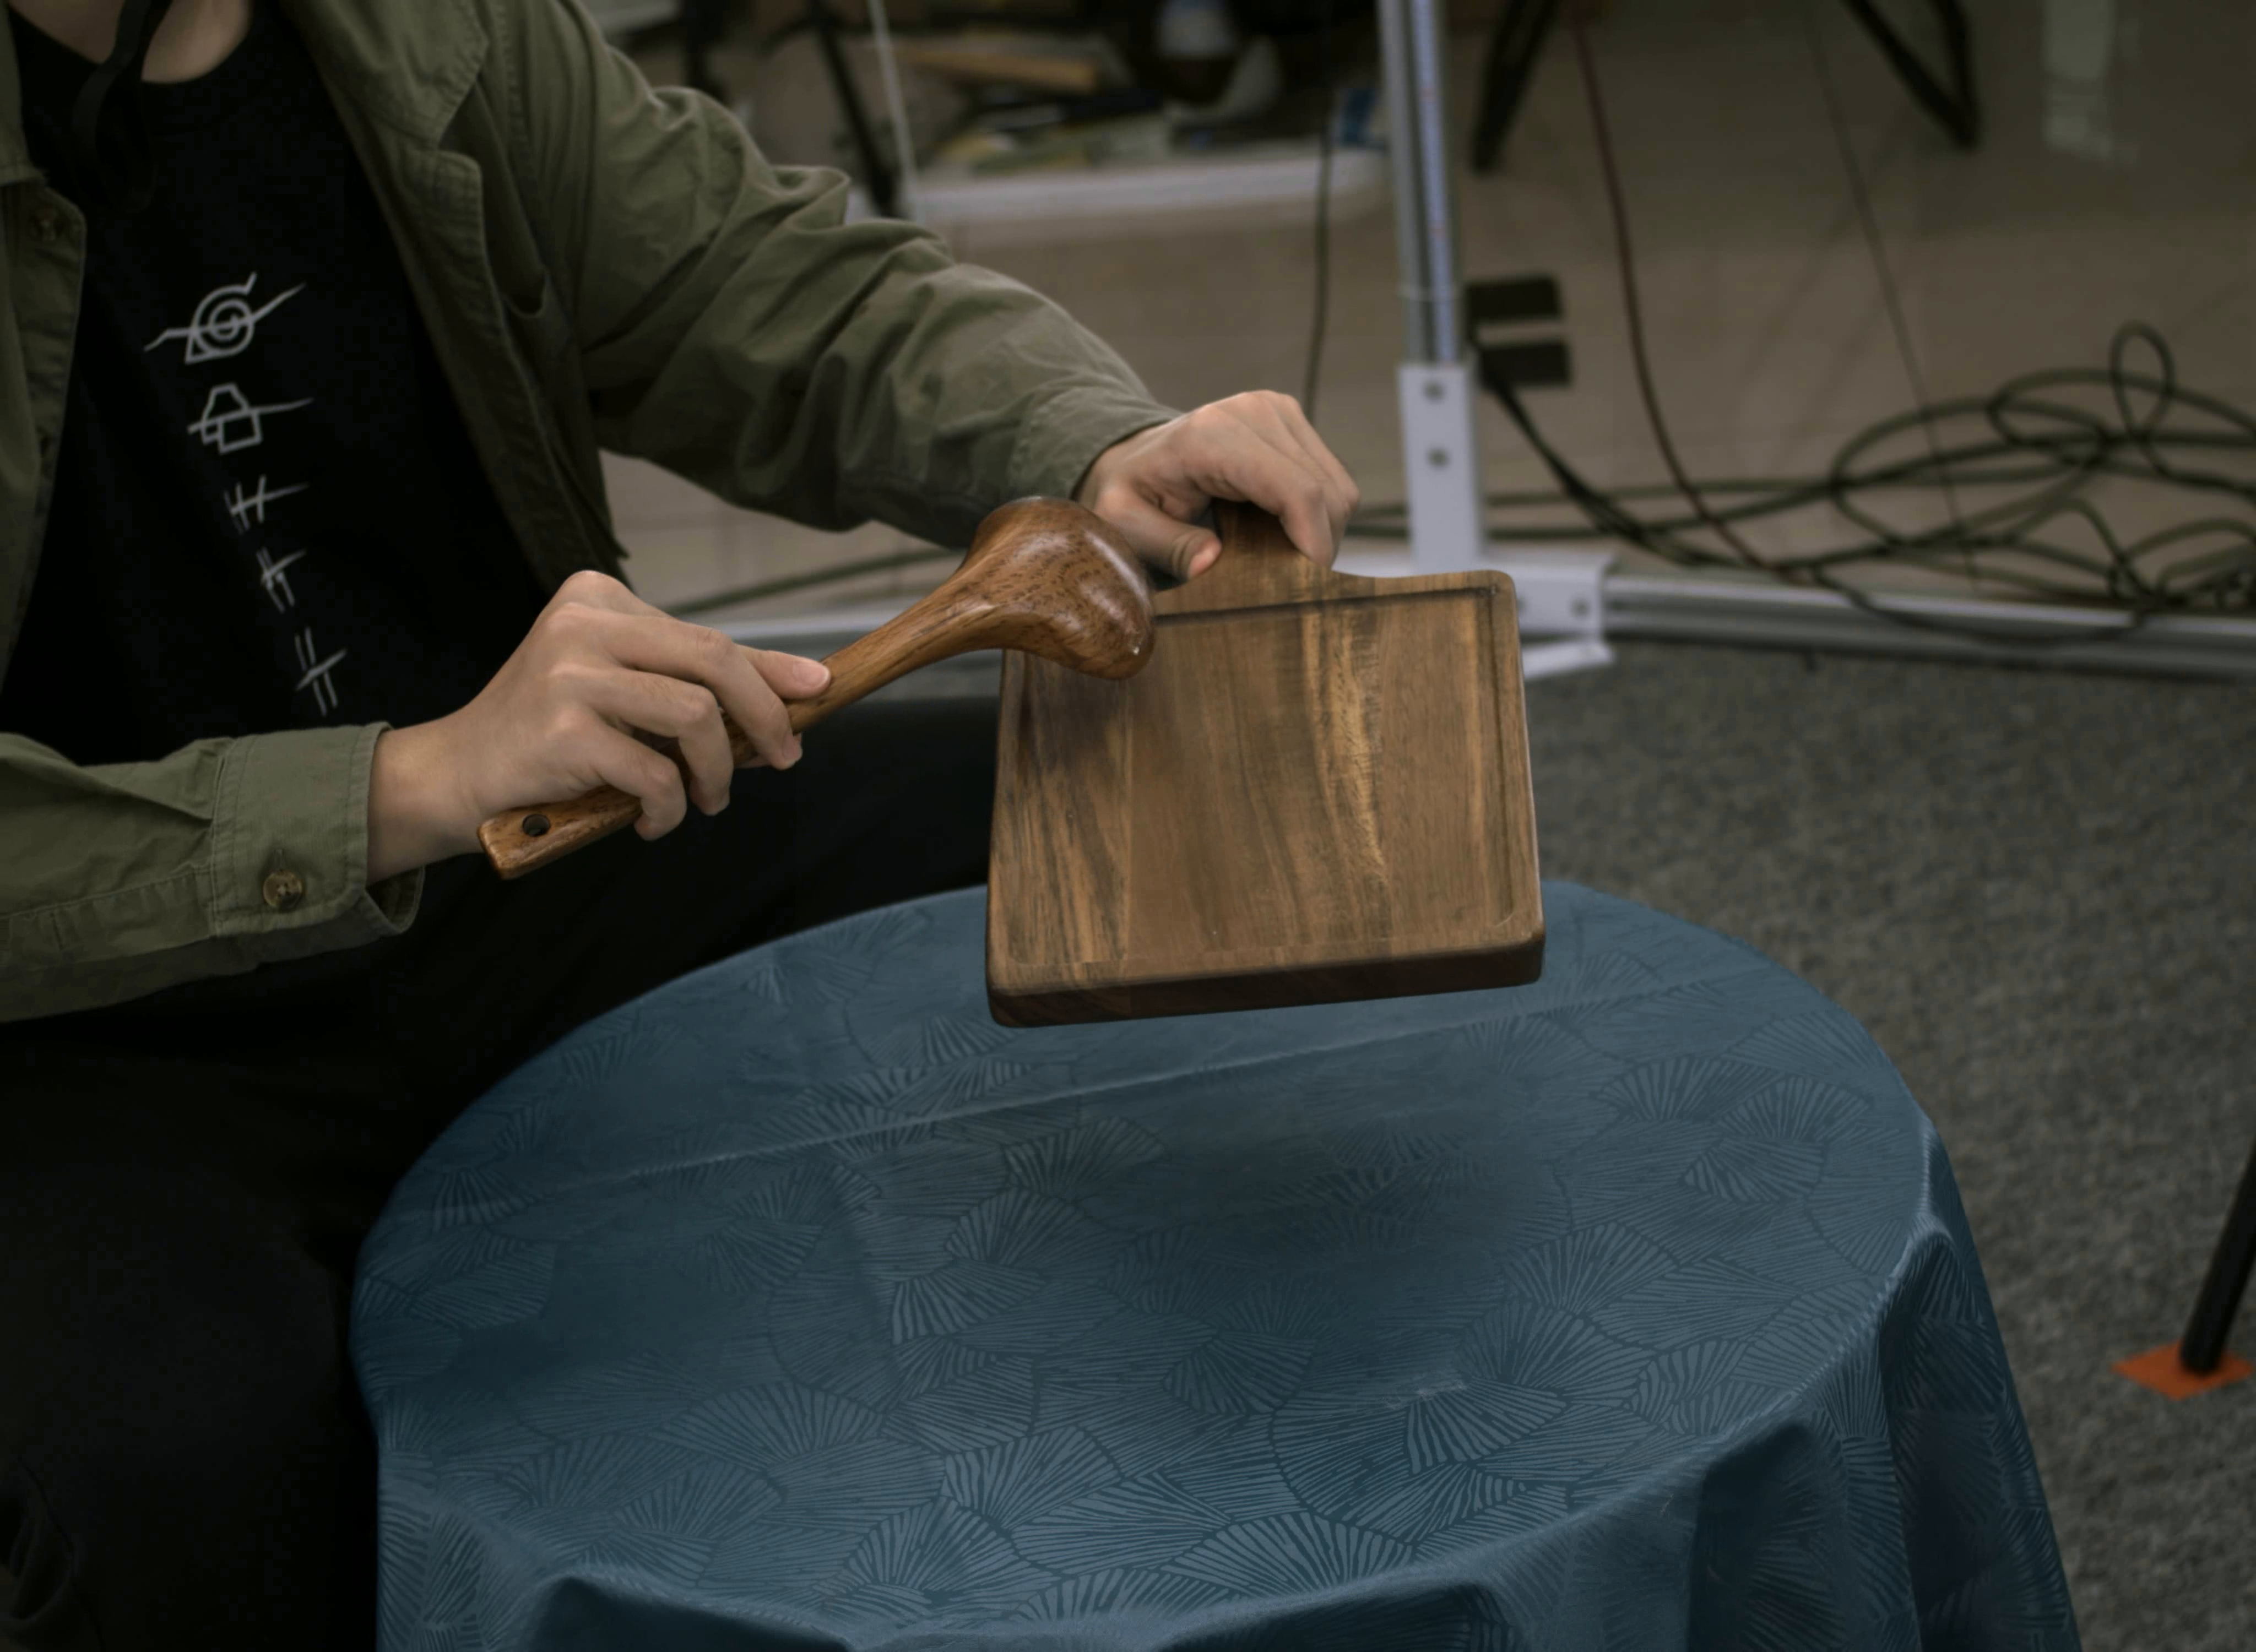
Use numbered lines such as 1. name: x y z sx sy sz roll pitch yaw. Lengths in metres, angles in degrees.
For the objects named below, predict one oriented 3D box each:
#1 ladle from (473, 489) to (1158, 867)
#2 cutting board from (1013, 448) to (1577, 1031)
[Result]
1. ladle: -0.115 -0.045 2.091 0.273 0.078 0.081 -27 68 -10
2. cutting board: 0.063 -0.042 2.110 0.201 0.023 0.346 -4 35 6
